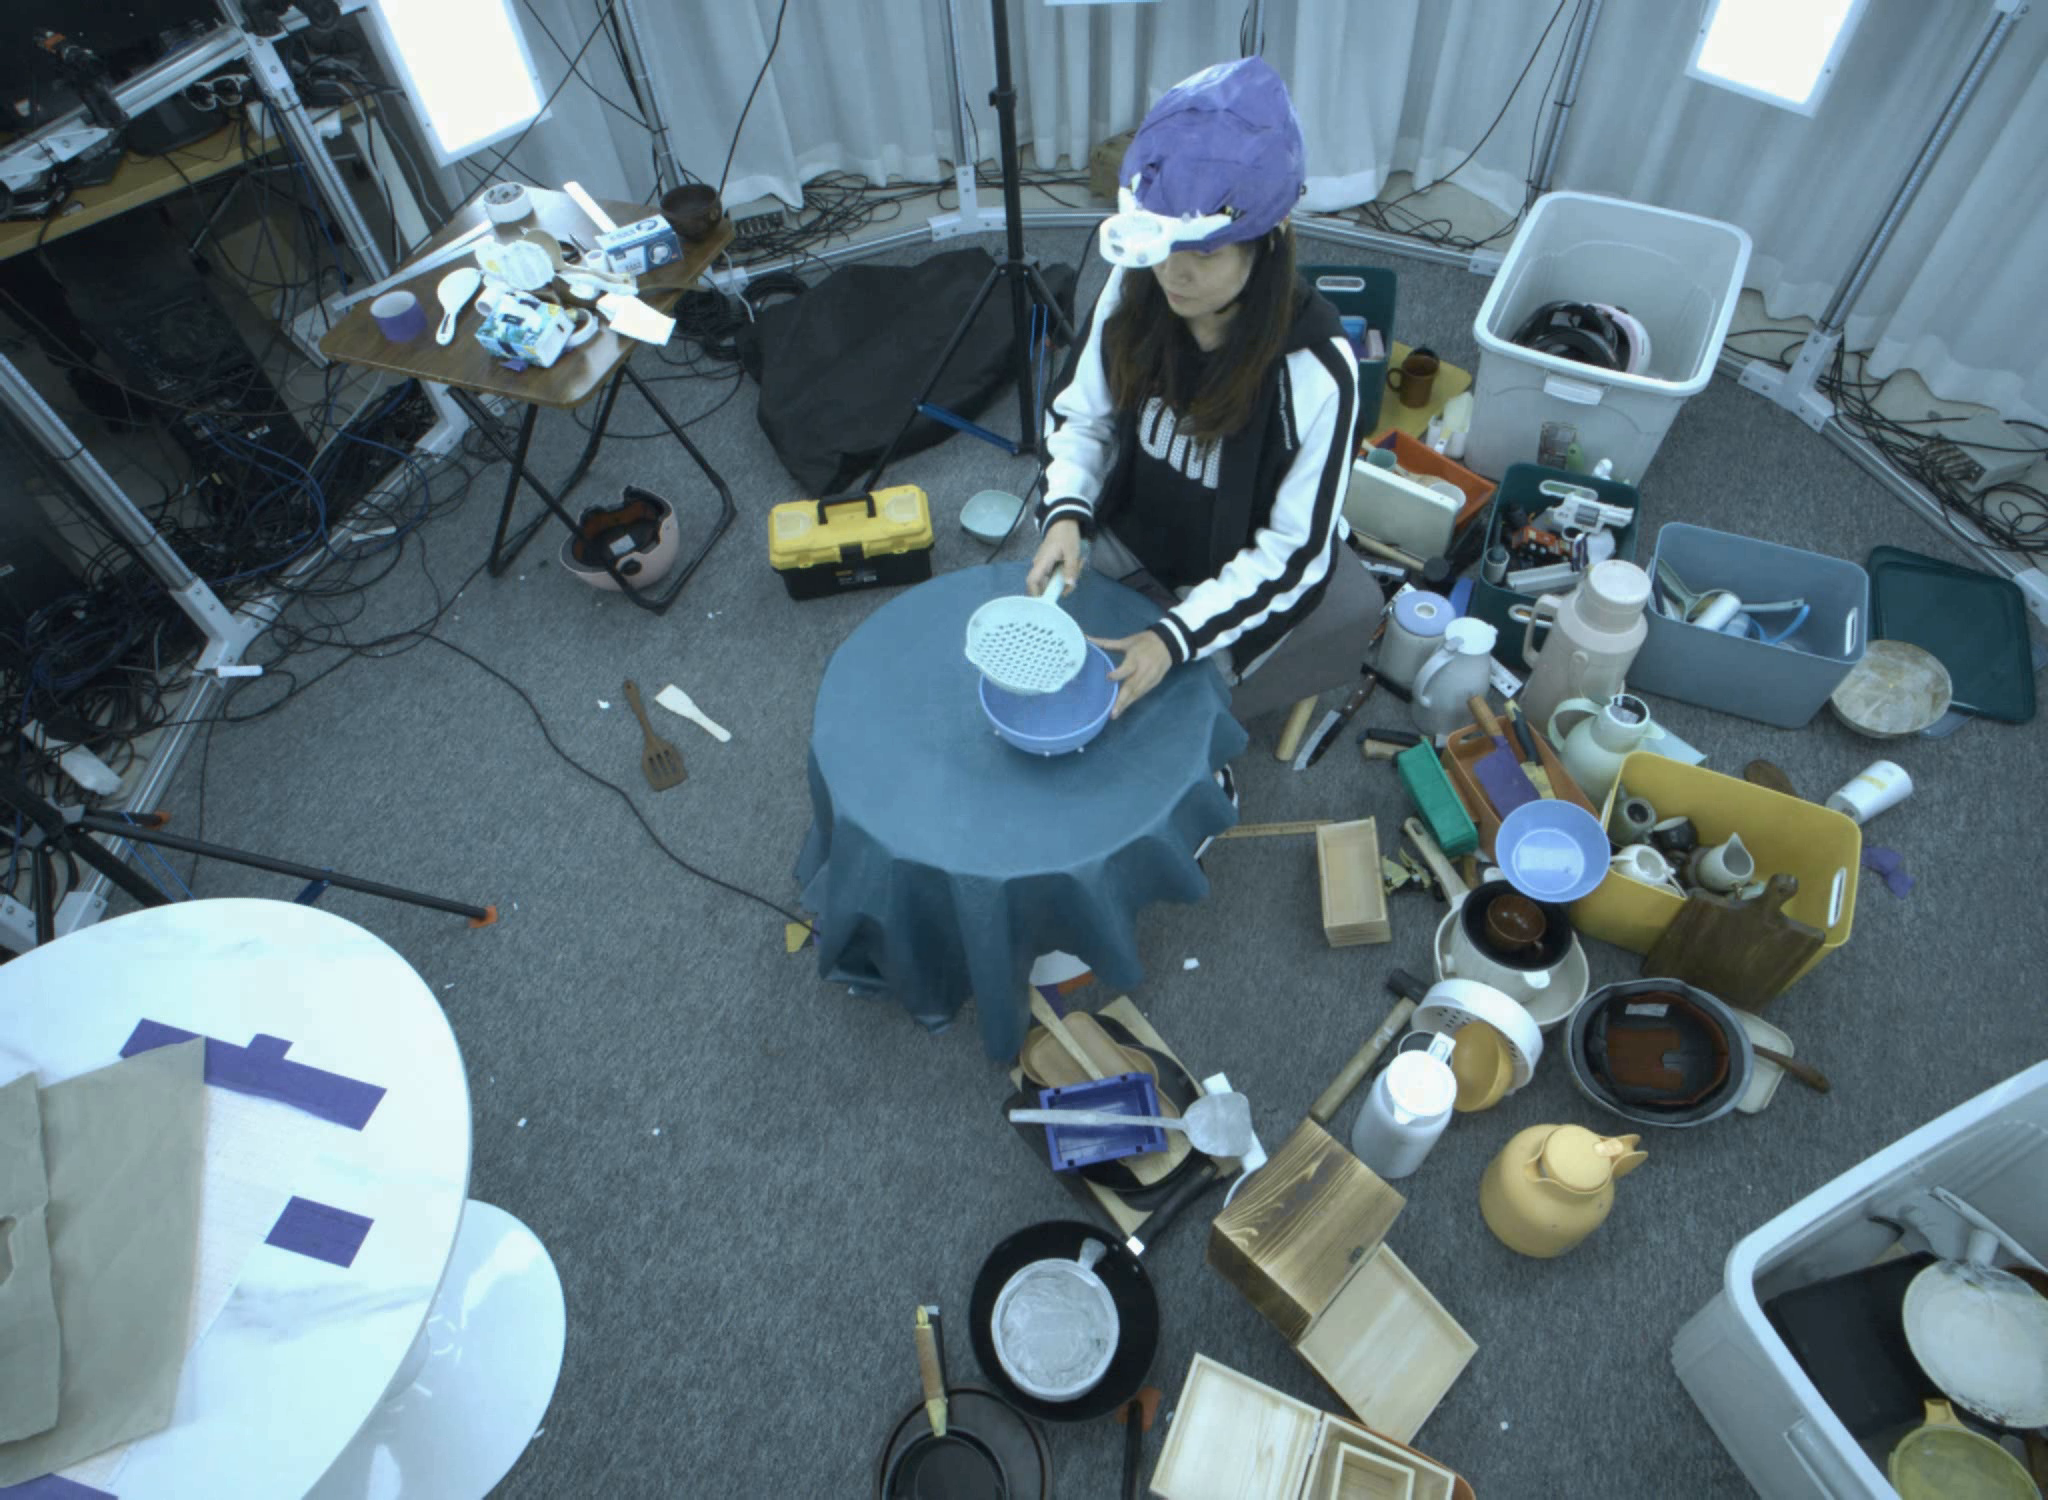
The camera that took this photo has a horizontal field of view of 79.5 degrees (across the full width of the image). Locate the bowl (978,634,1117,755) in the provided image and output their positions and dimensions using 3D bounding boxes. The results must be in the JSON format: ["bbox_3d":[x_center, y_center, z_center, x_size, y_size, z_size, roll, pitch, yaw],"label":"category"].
[{"bbox_3d":[0.036,-0.065,1.775,0.196,0.096,0.194,-1,54,2],"label":"bowl"}]

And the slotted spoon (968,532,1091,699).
[{"bbox_3d":[0.037,-0.211,1.781,0.169,0.075,0.358,23,61,1],"label":"slotted spoon"}]
